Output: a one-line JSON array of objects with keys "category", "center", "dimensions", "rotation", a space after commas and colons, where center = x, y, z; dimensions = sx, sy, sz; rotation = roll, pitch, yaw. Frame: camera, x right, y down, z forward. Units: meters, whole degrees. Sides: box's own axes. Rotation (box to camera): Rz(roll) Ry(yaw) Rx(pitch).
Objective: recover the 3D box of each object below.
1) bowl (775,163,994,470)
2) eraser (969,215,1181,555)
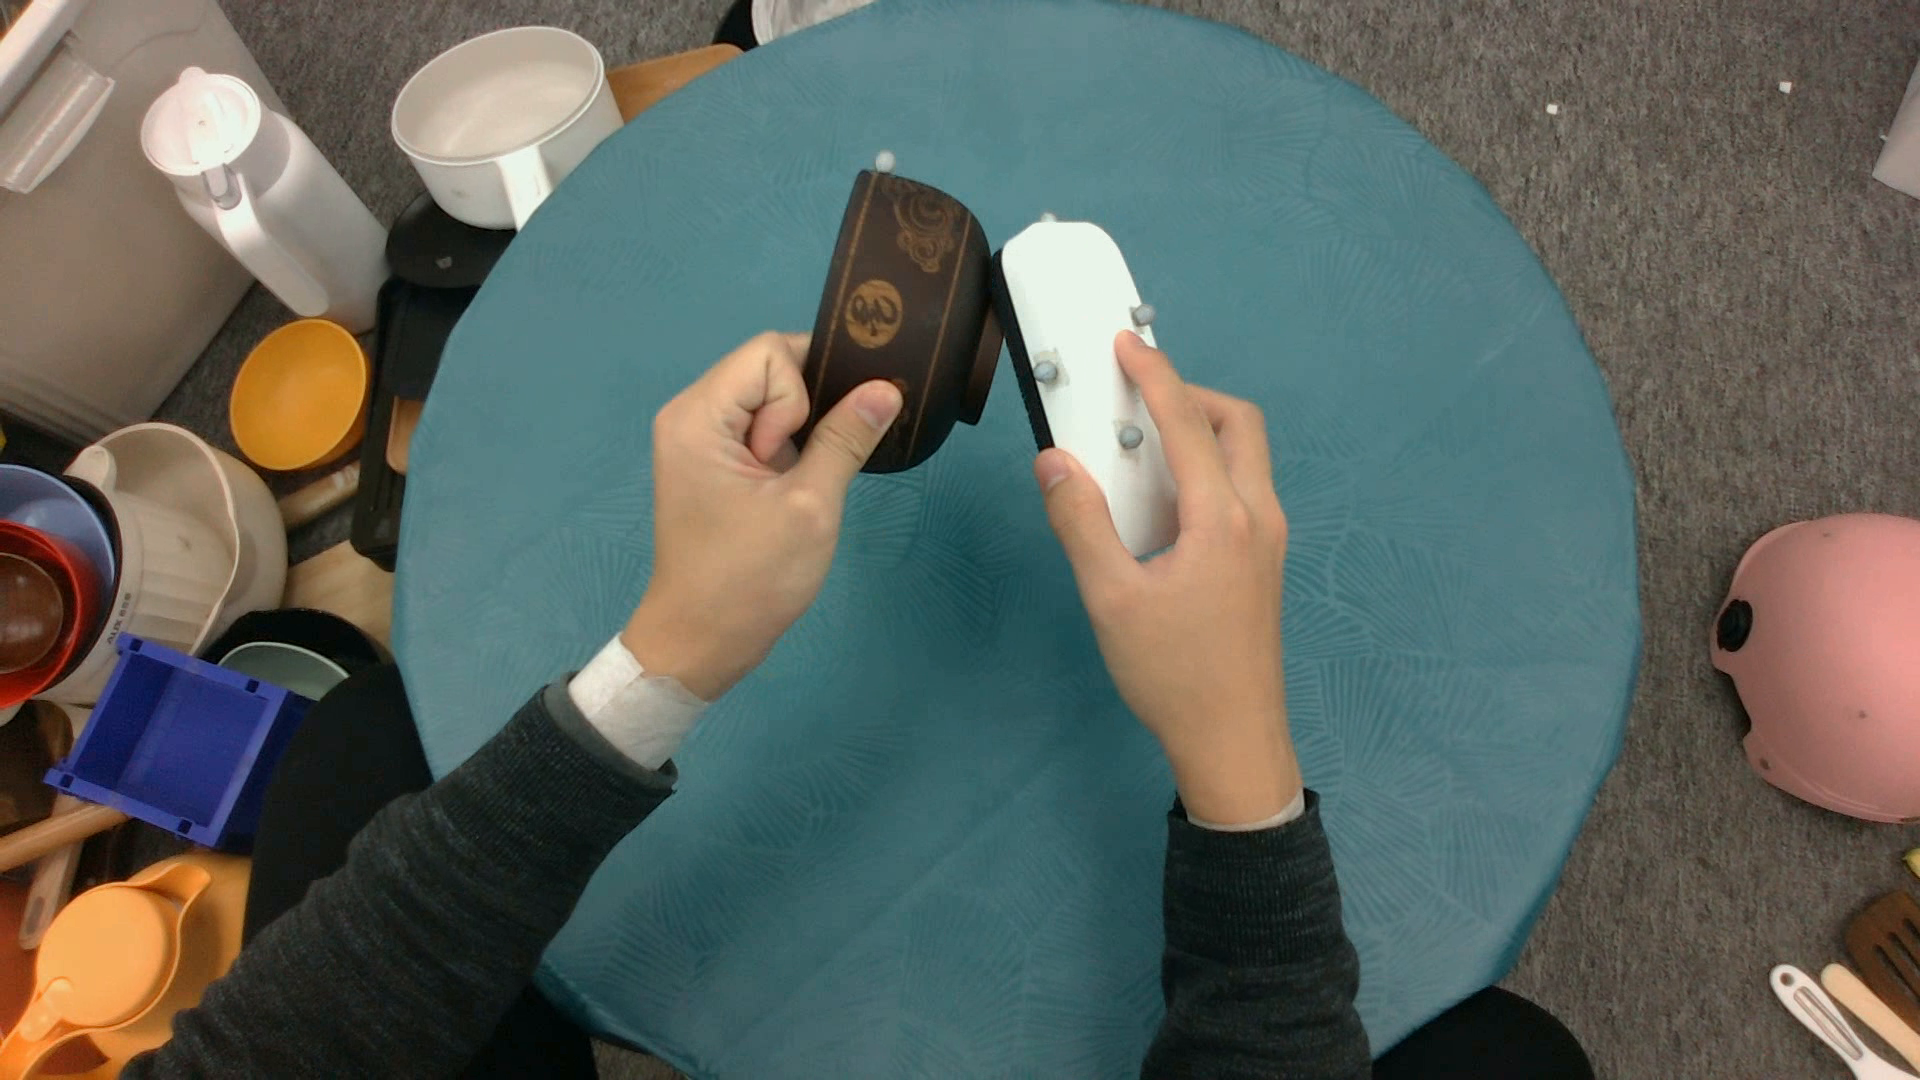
[{"category": "bowl", "center": [-0.026, -0.083, 0.548], "dimensions": [0.070, 0.117, 0.118], "rotation": [15, 71, -8]}, {"category": "eraser", "center": [0.046, -0.060, 0.527], "dimensions": [0.034, 0.063, 0.131], "rotation": [-18, 89, 39]}]
